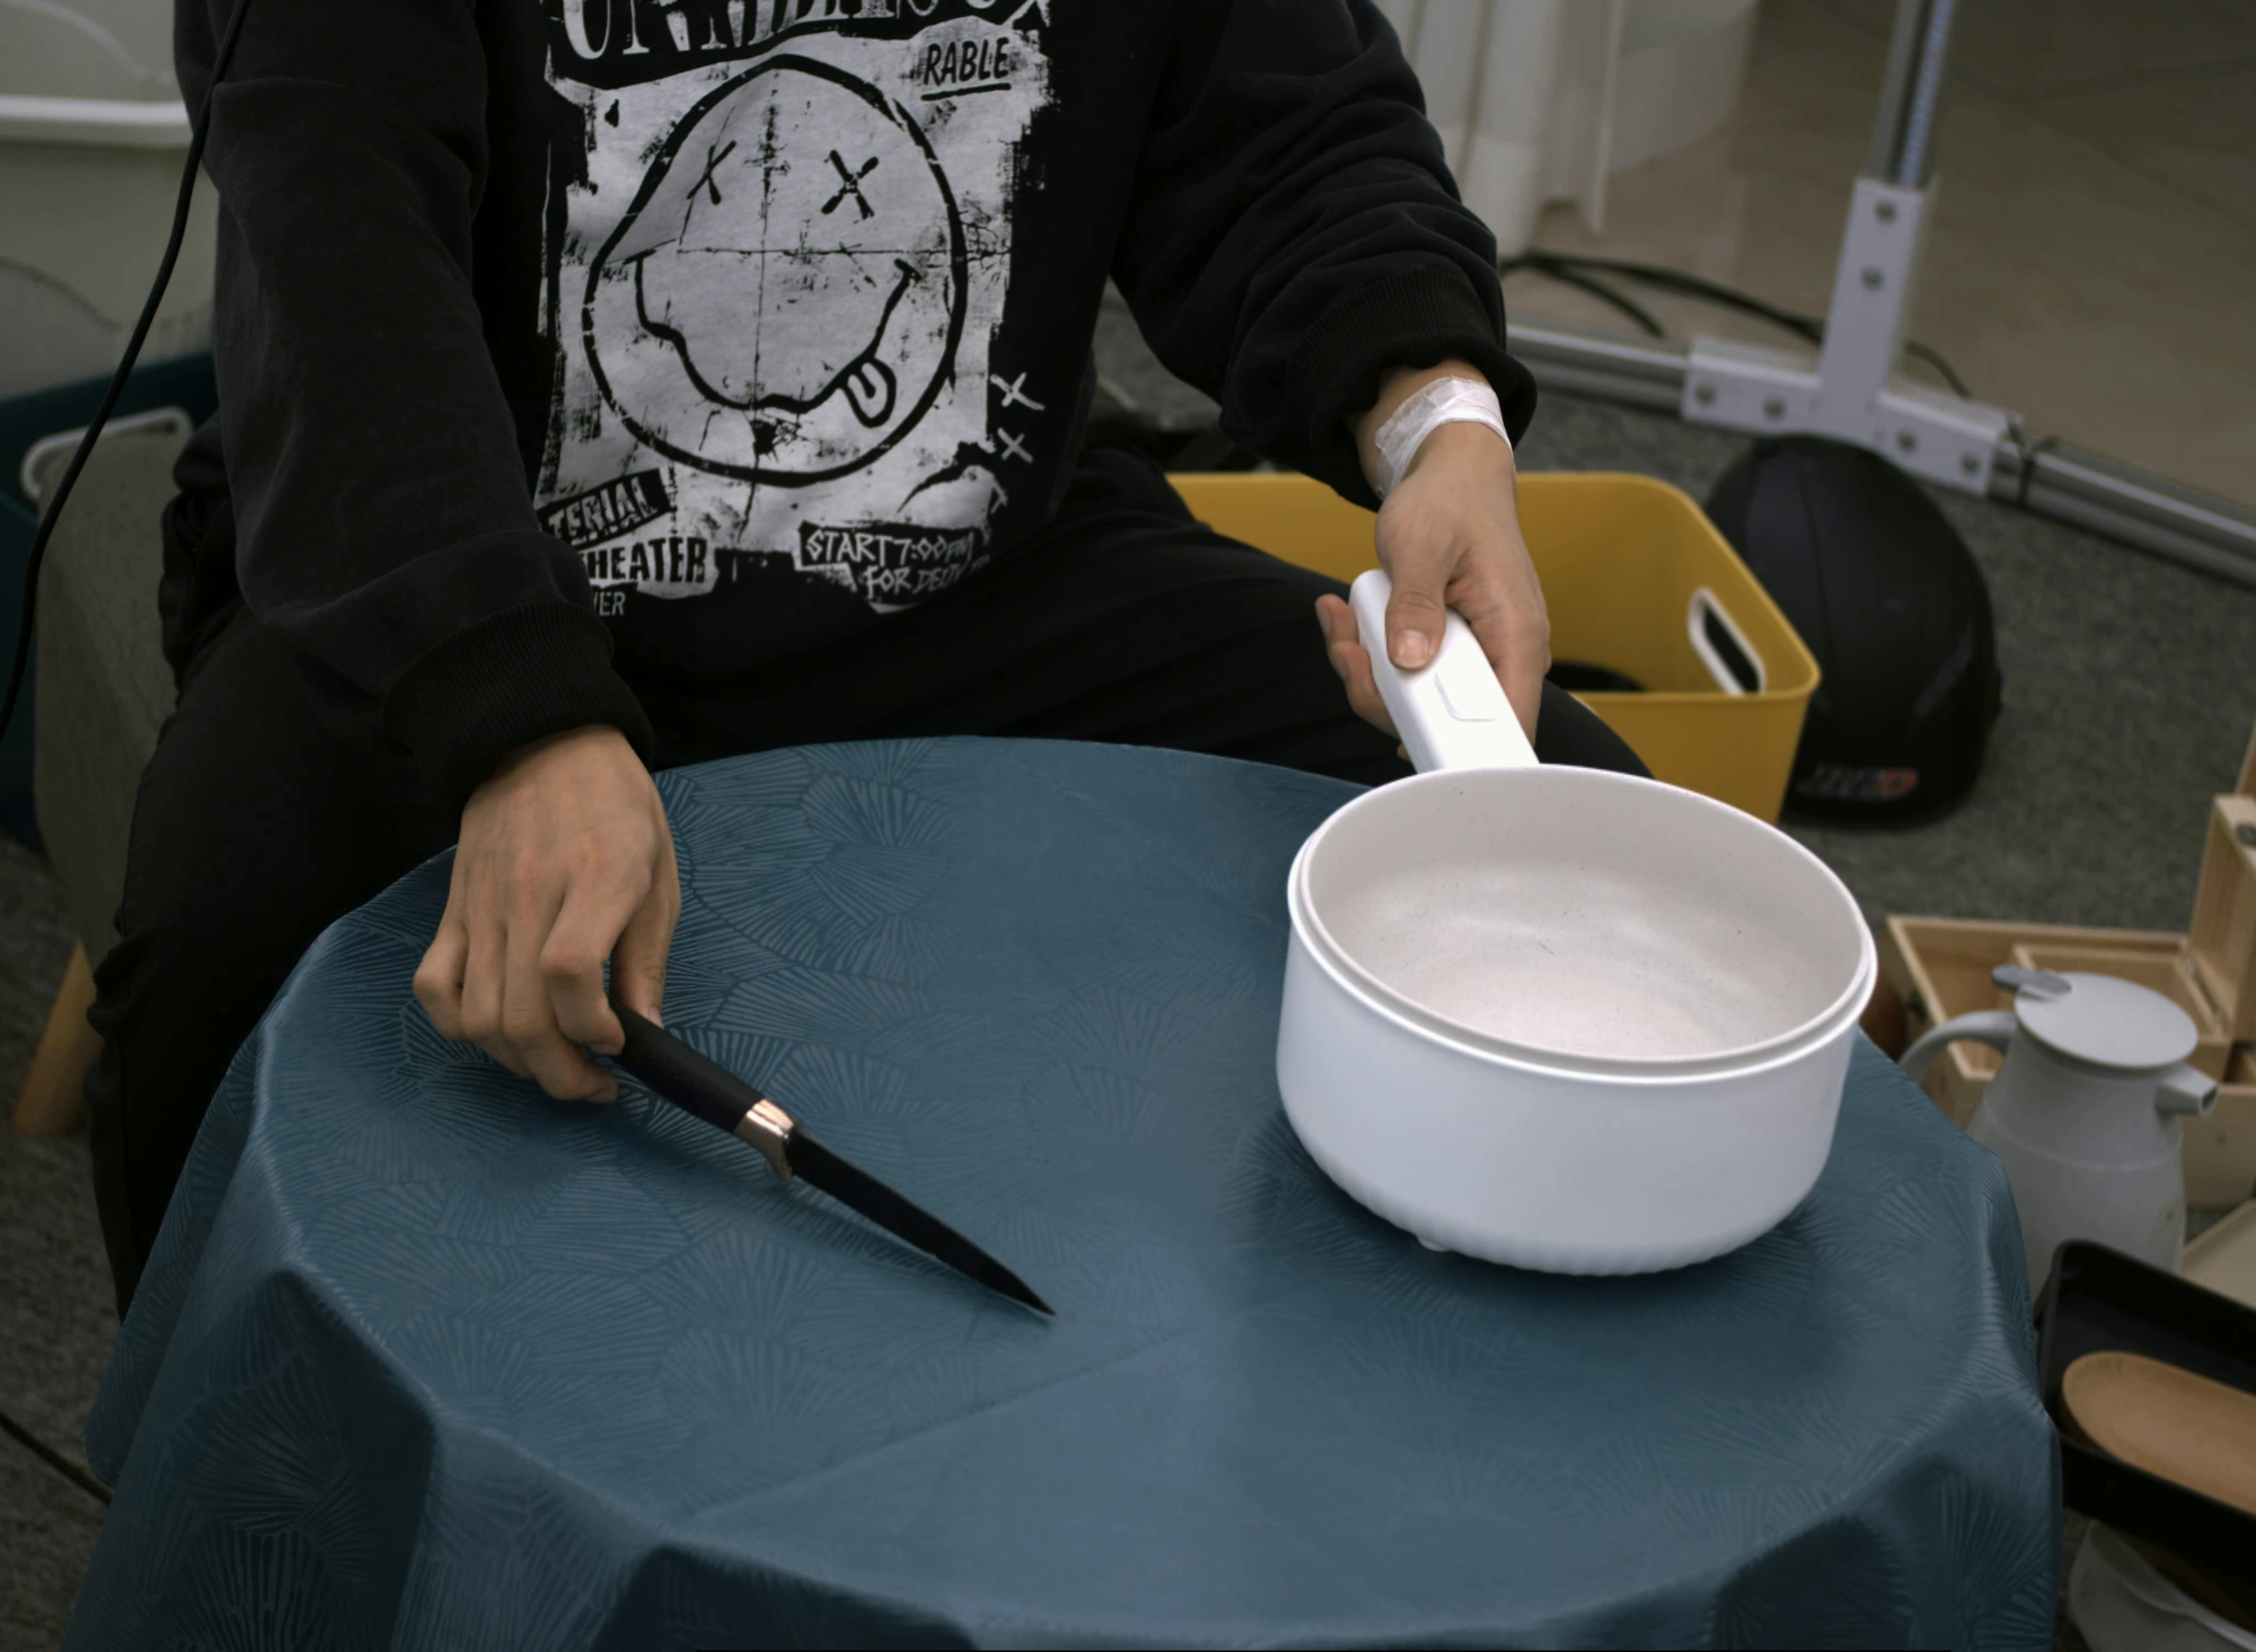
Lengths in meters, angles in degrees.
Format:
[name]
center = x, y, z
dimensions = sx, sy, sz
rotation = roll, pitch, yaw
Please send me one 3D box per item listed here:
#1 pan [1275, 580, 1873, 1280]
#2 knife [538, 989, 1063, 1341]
[pan]
center = 0.134, 0.034, 1.893
dimensions = 0.200, 0.102, 0.358
rotation = -2, 29, -12
[knife]
center = -0.110, 0.112, 1.773
dimensions = 0.227, 0.026, 0.017
rotation = 29, 40, 25
